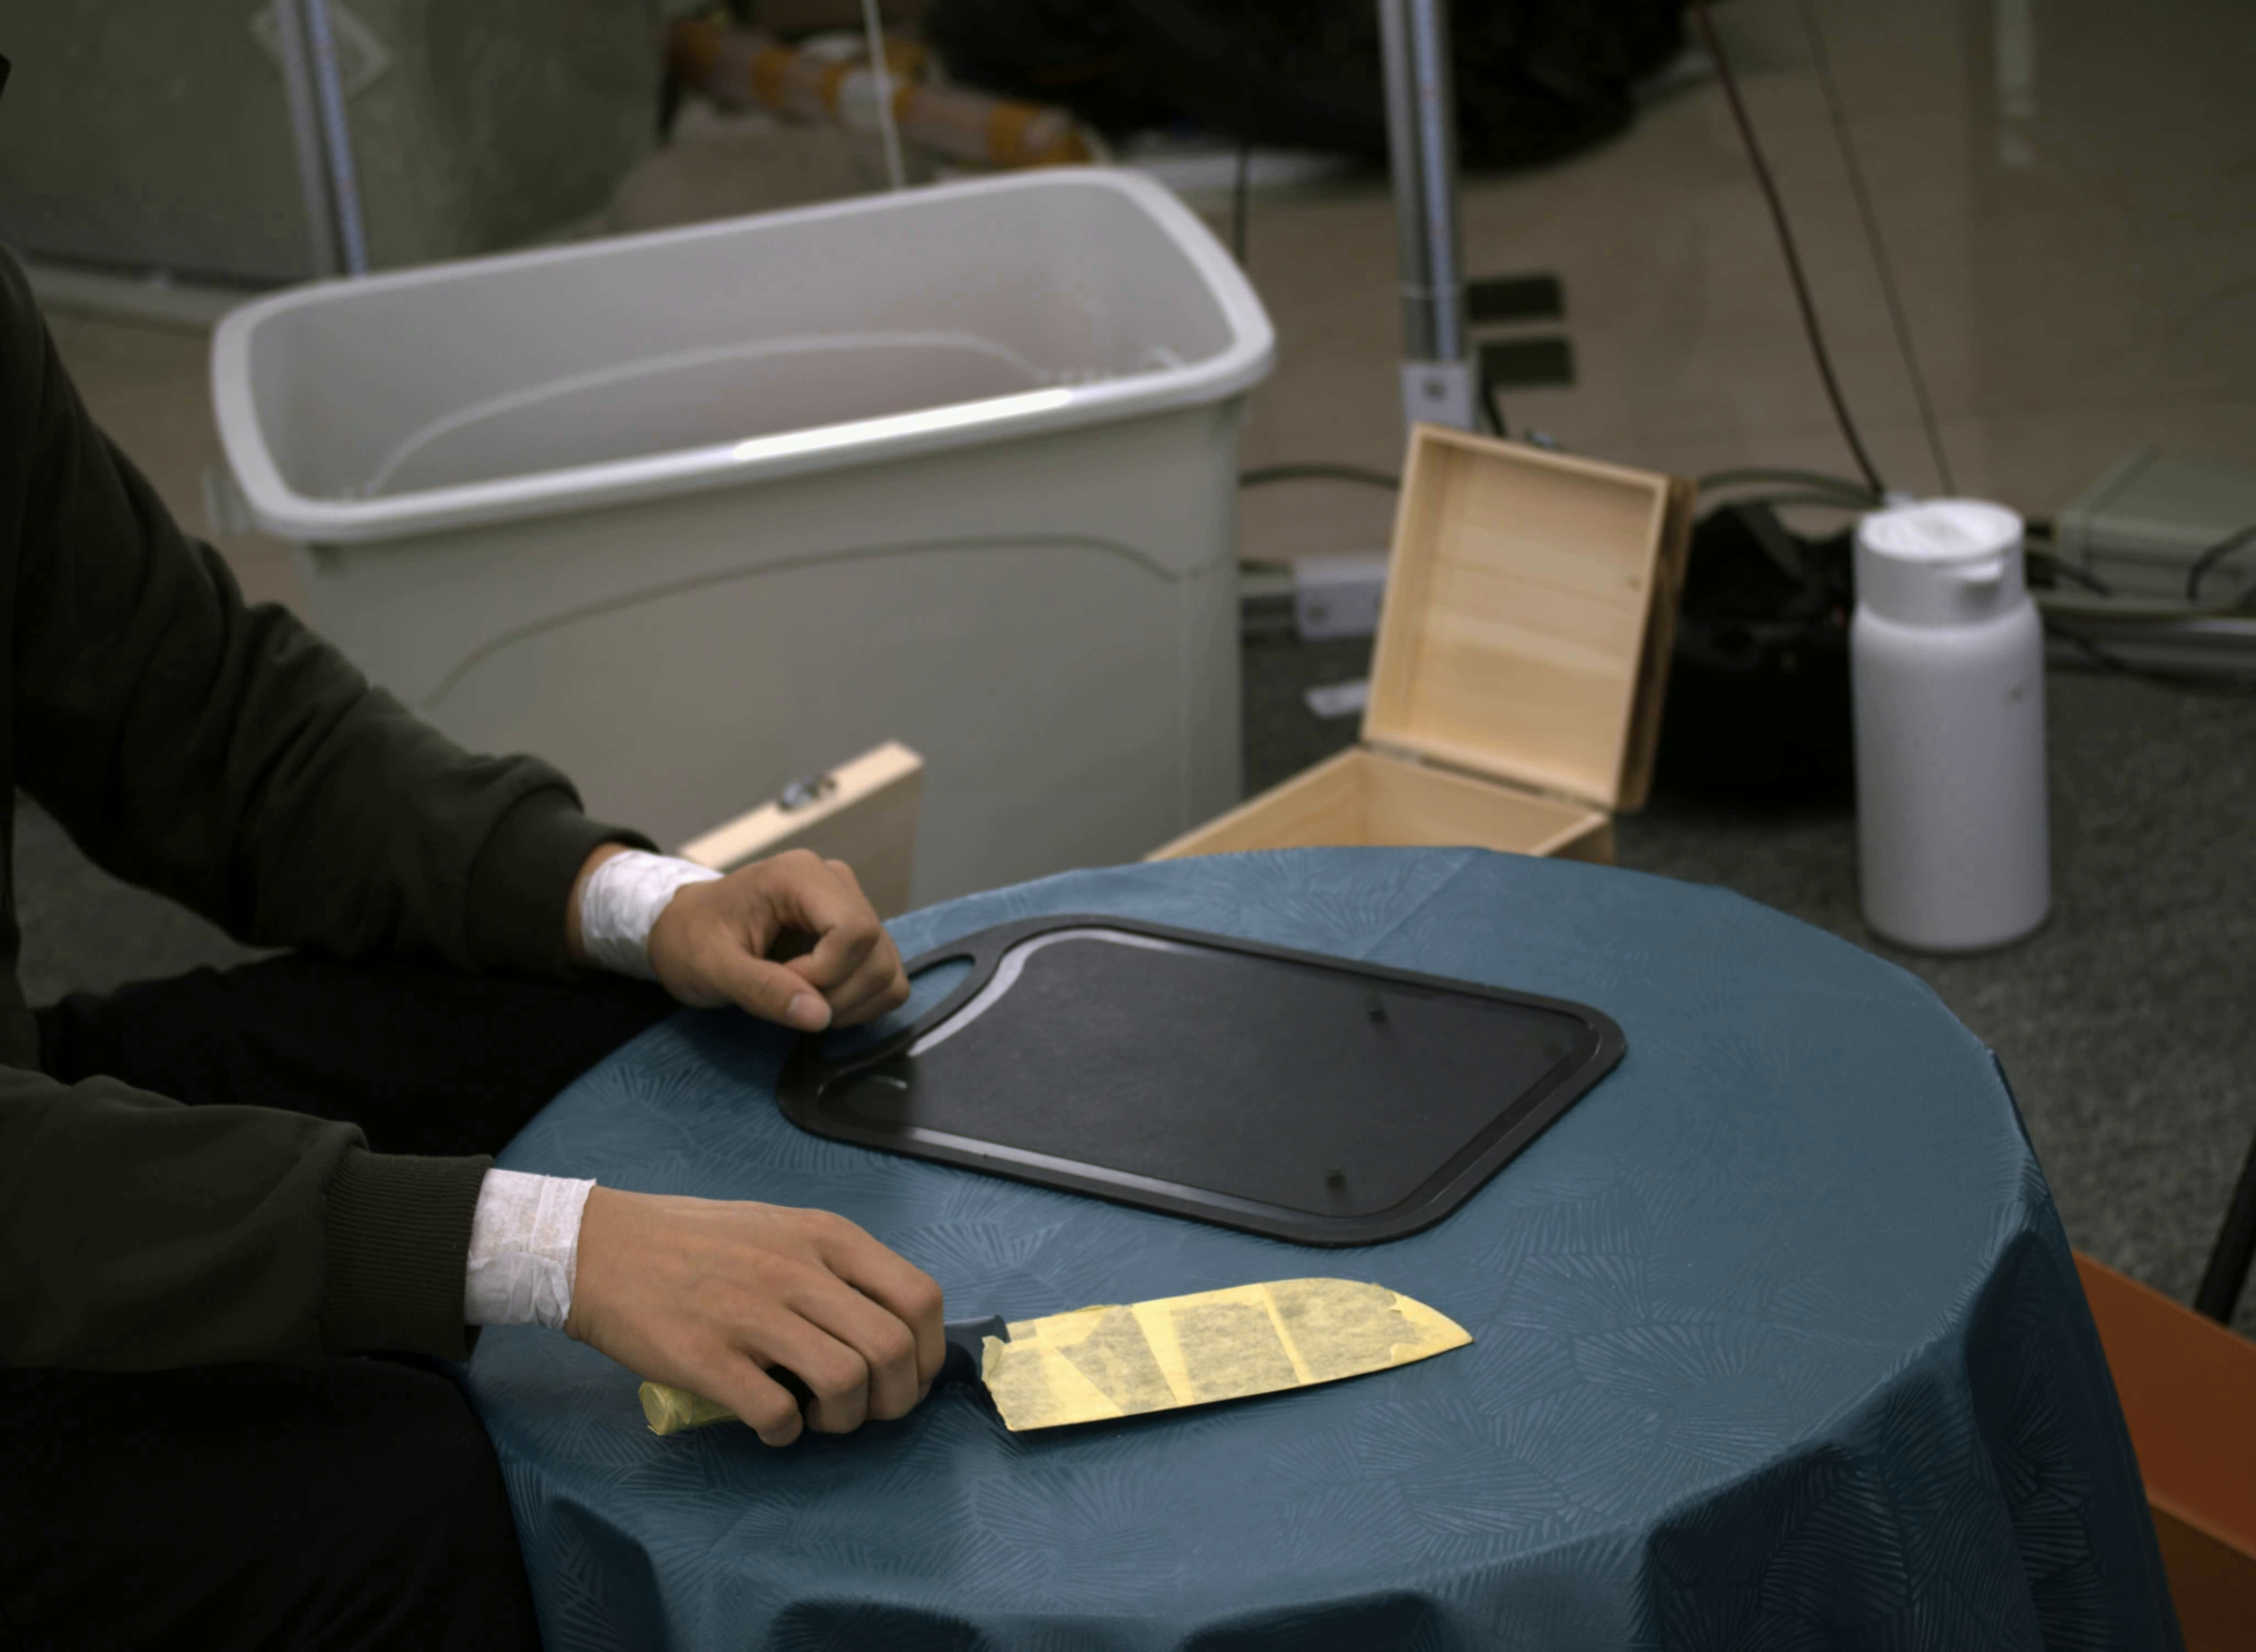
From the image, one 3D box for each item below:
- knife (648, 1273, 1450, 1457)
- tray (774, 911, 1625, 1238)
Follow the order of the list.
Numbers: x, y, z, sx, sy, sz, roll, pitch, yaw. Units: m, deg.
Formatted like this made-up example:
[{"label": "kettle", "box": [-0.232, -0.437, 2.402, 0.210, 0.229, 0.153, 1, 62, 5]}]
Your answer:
[{"label": "knife", "box": [-0.026, 0.194, 2.021, 0.289, 0.027, 0.080, -9, 24, -7]}, {"label": "tray", "box": [0.019, 0.092, 2.238, 0.324, 0.010, 0.209, 11, 30, 33]}]
